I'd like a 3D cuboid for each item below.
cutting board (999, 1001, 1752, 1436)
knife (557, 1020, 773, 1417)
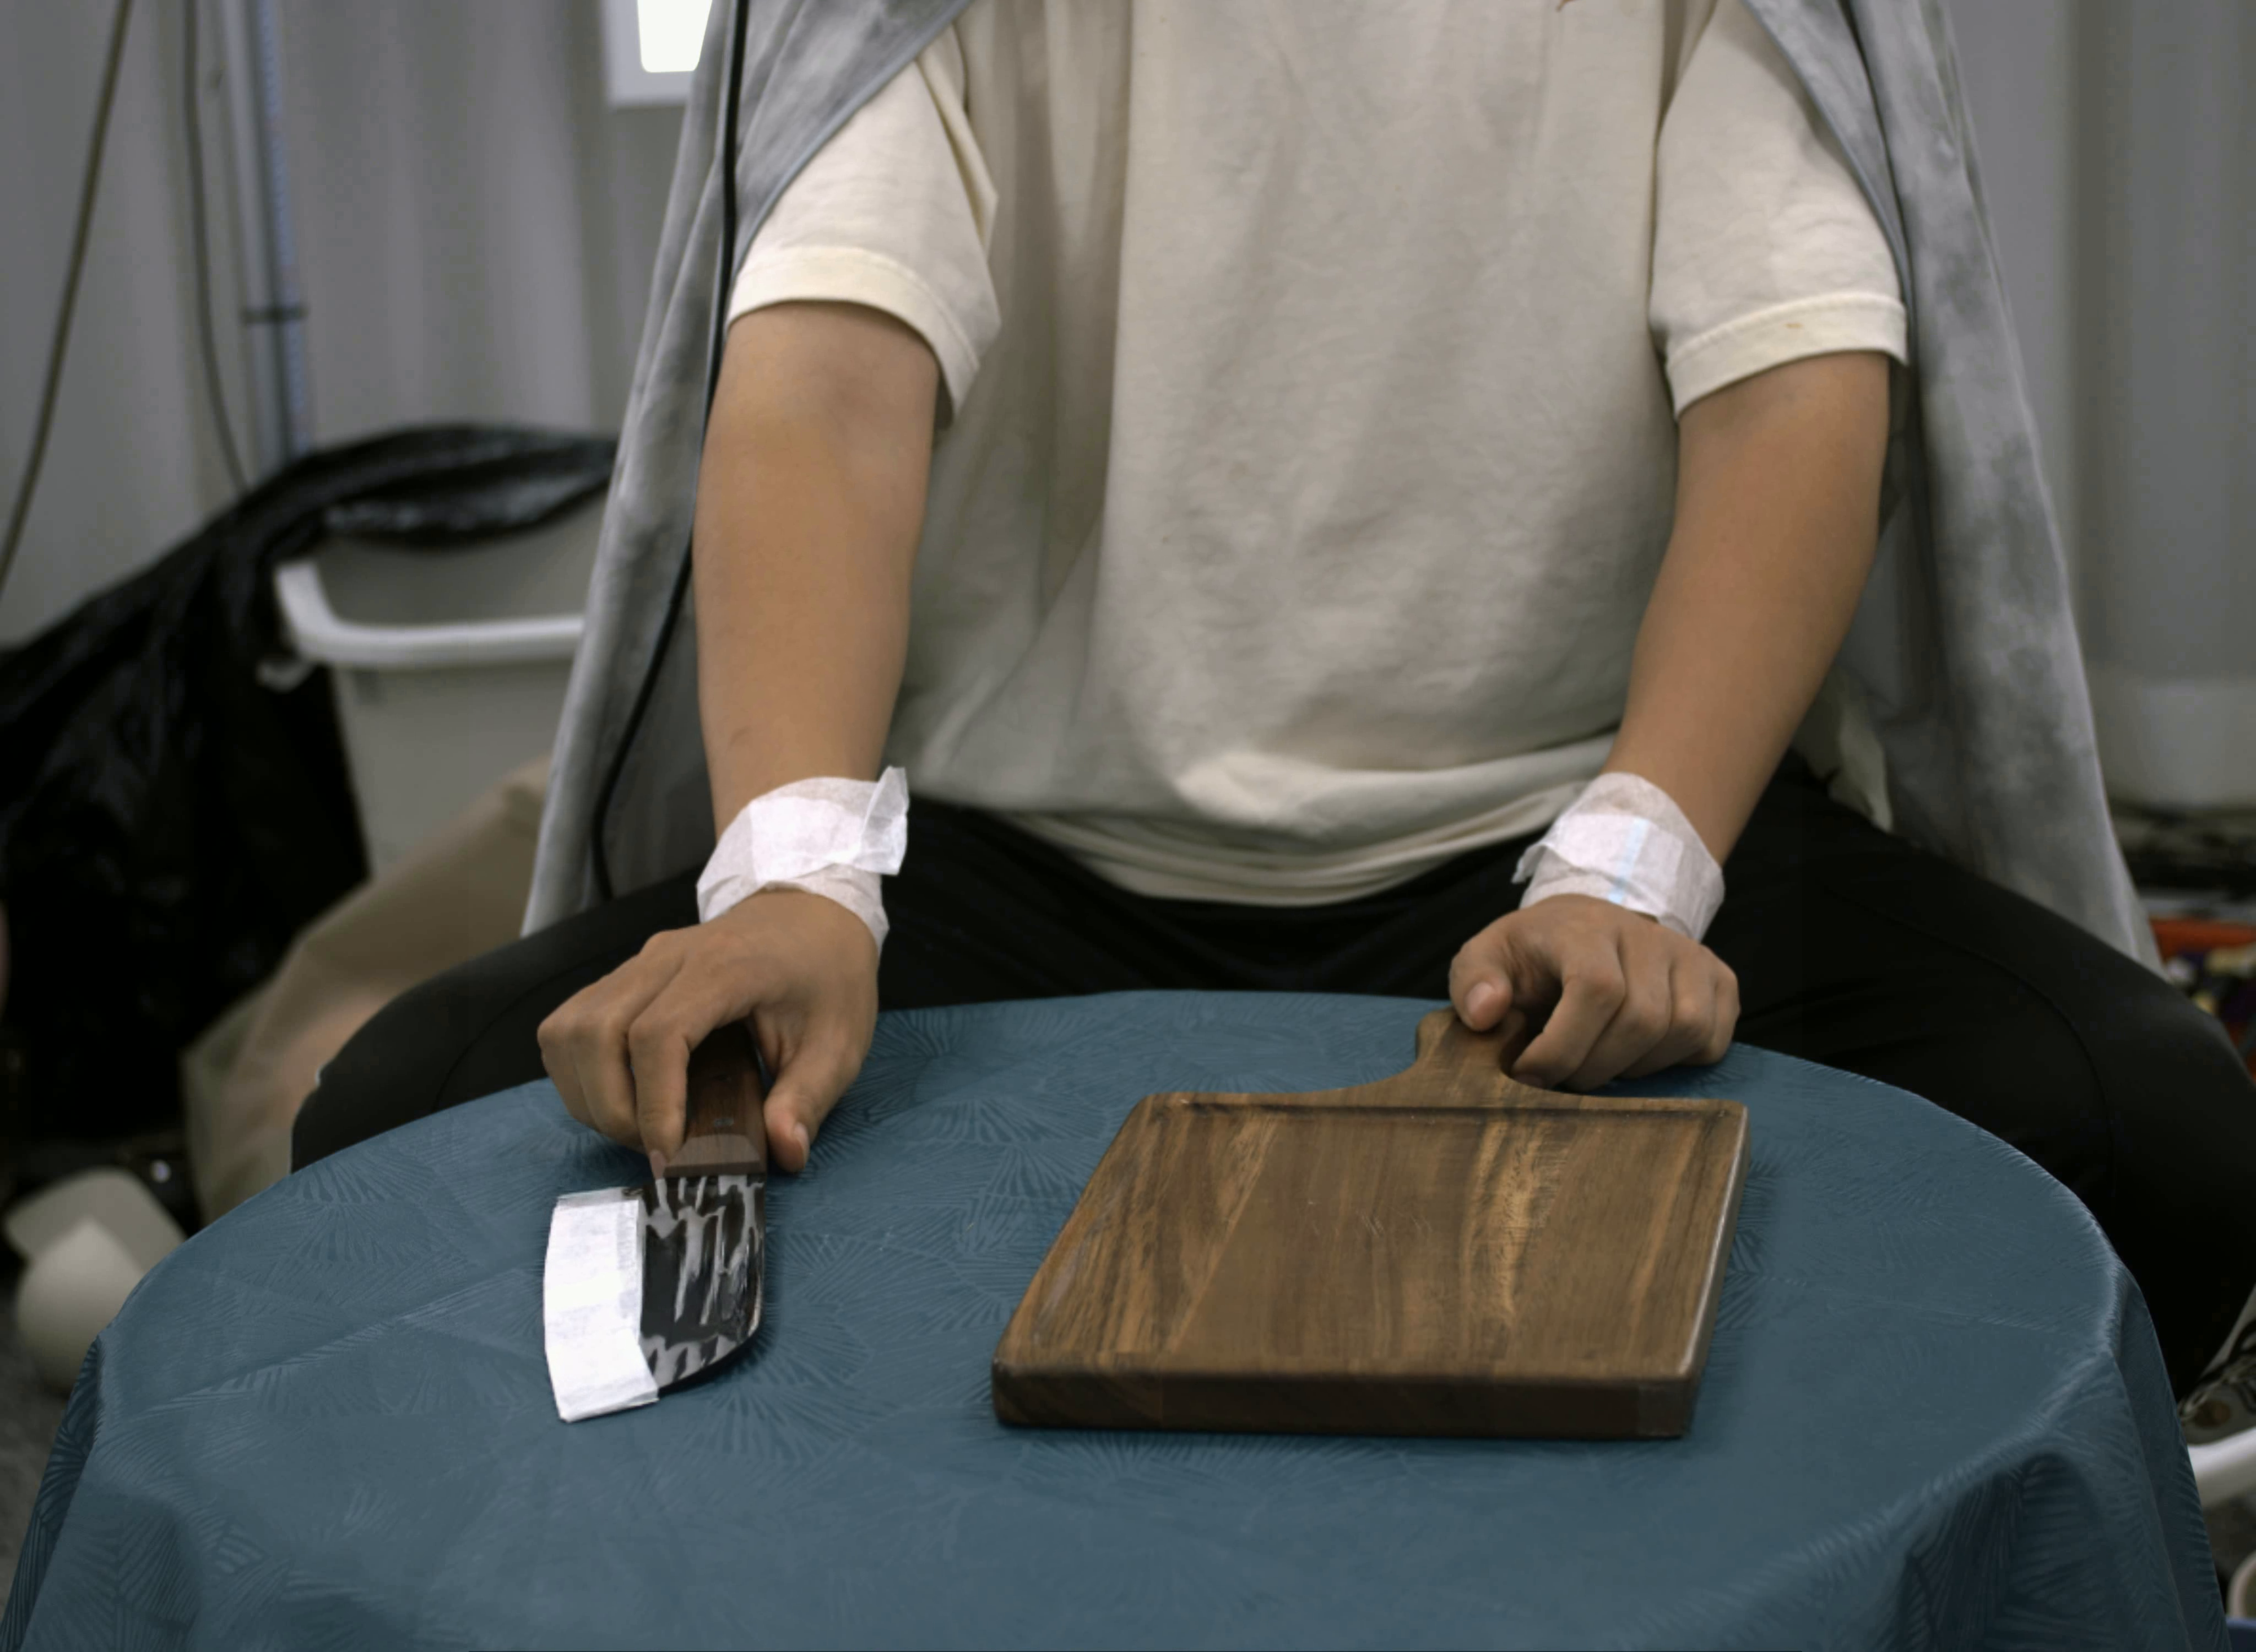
[{"bbox_3d":[0.088,0.113,1.668,0.201,0.023,0.354,0,15,11],"label":"cutting board"},{"bbox_3d":[-0.143,0.120,1.689,0.068,0.024,0.302,-7,17,-1],"label":"knife"}]
